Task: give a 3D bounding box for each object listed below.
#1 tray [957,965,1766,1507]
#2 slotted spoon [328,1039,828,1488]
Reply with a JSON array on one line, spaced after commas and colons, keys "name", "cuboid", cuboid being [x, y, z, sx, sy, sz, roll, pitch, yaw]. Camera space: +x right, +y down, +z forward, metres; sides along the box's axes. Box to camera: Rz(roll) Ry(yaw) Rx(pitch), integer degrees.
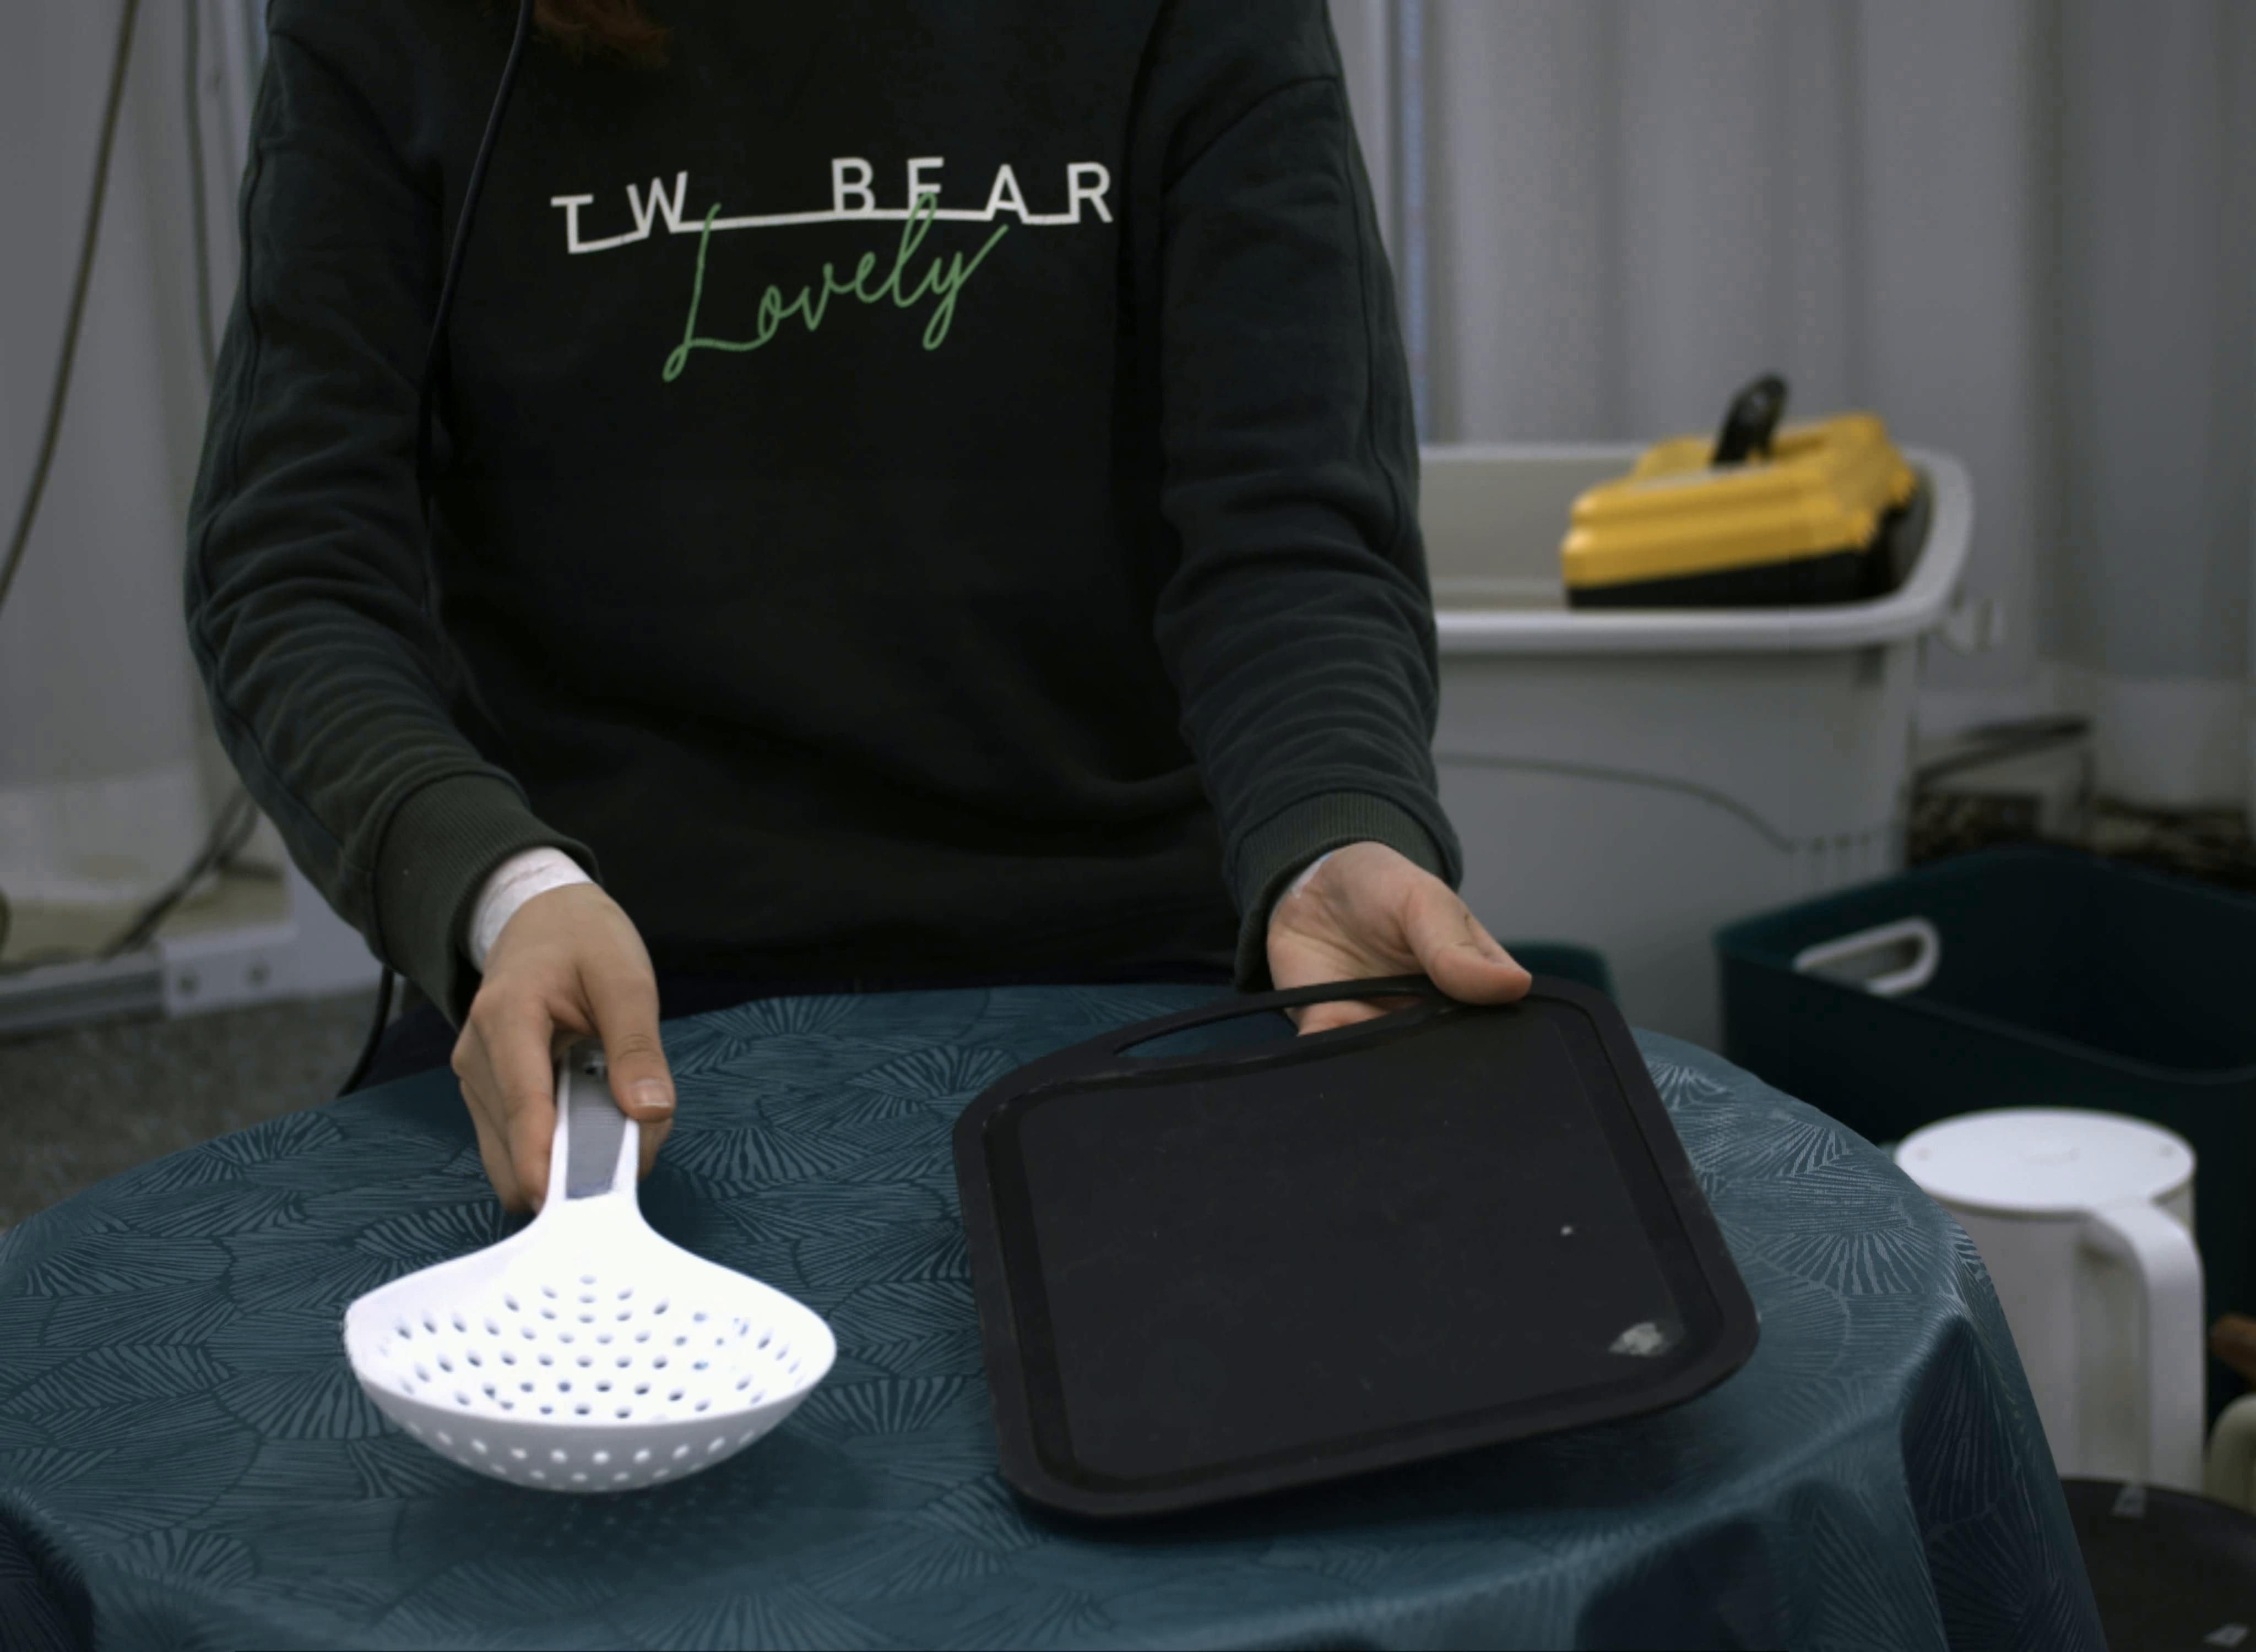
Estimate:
[{"name": "tray", "cuboid": [0.058, 0.109, 1.580, 0.210, 0.010, 0.328, -11, 21, -1]}, {"name": "slotted spoon", "cuboid": [-0.157, 0.118, 1.588, 0.135, 0.045, 0.353, 4, 18, -5]}]
